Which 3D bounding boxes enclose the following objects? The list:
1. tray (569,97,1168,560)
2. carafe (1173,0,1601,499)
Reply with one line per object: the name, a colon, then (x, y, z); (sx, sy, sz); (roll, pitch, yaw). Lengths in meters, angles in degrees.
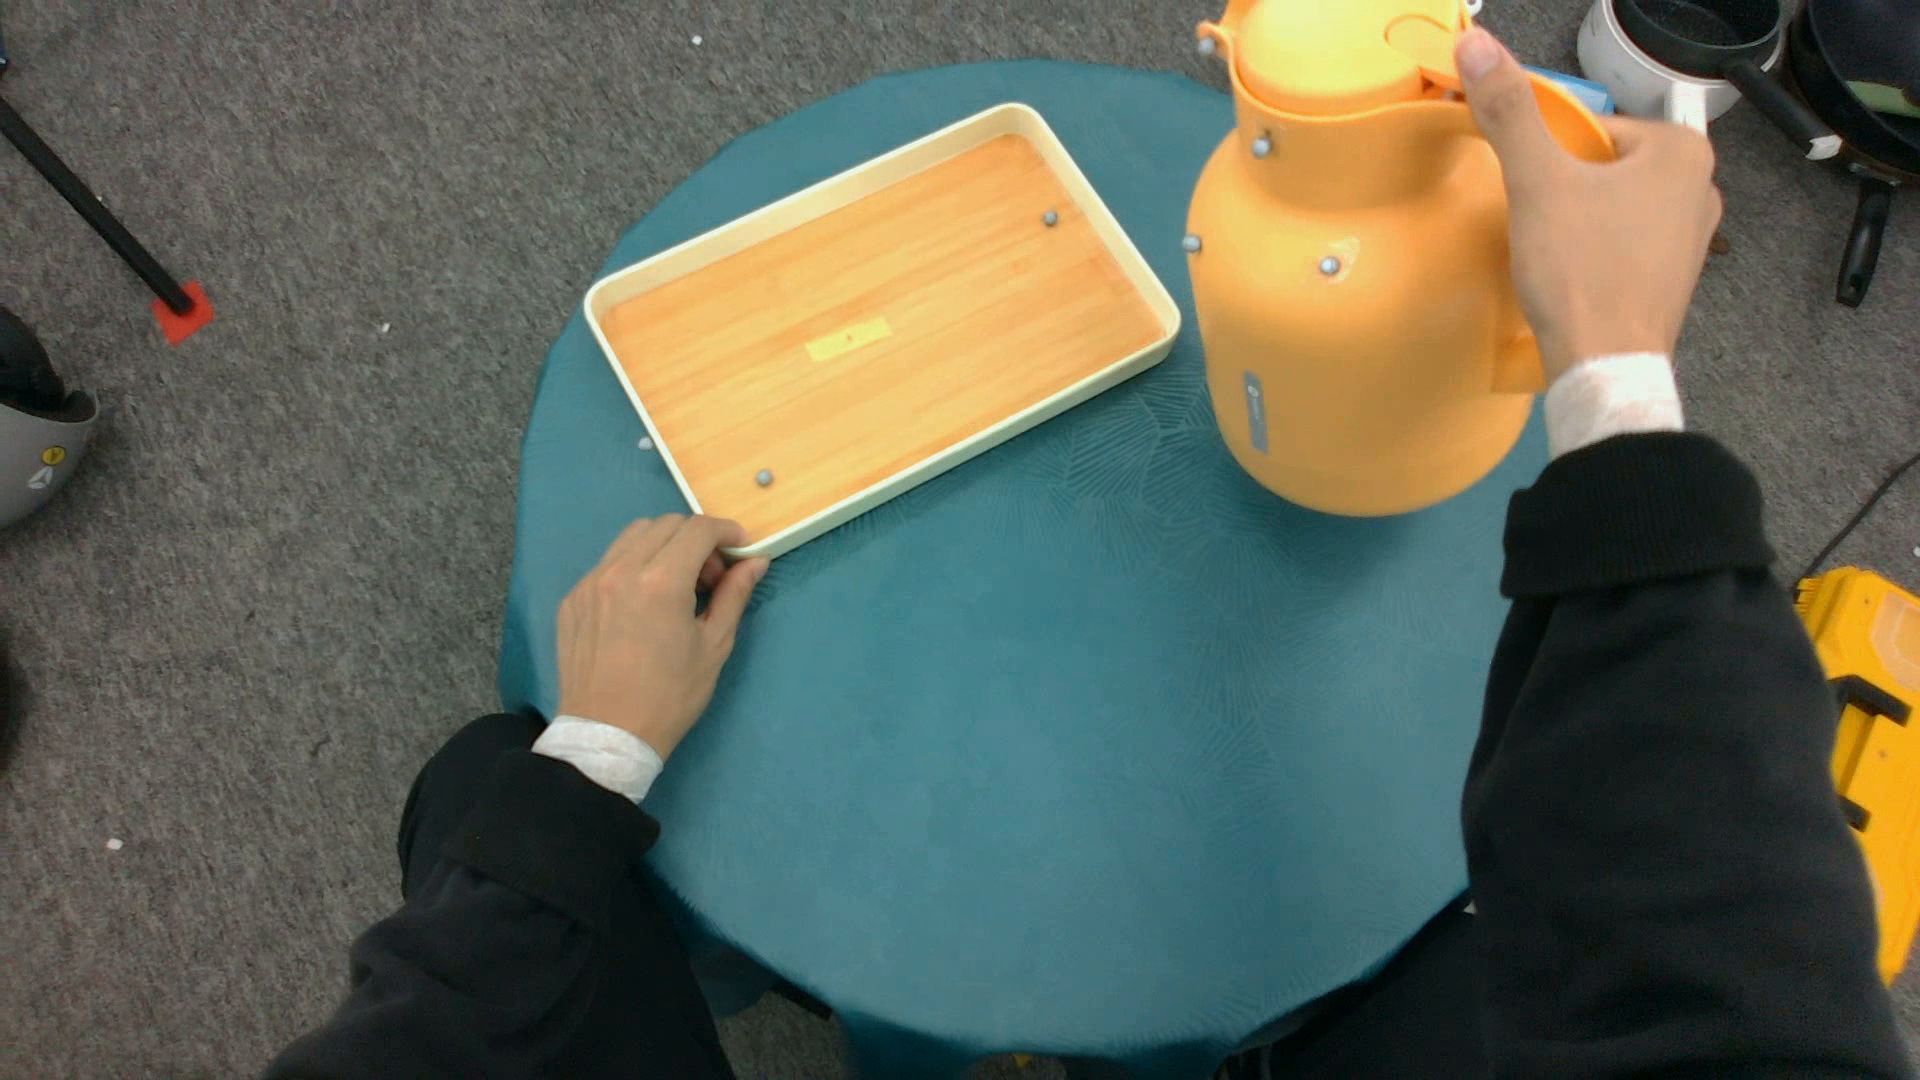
tray: (-0.050, -0.130, 0.792); (0.301, 0.027, 0.192); (-28, 71, -14)
carafe: (0.197, -0.135, 0.648); (0.164, 0.259, 0.202); (-45, 53, -12)
